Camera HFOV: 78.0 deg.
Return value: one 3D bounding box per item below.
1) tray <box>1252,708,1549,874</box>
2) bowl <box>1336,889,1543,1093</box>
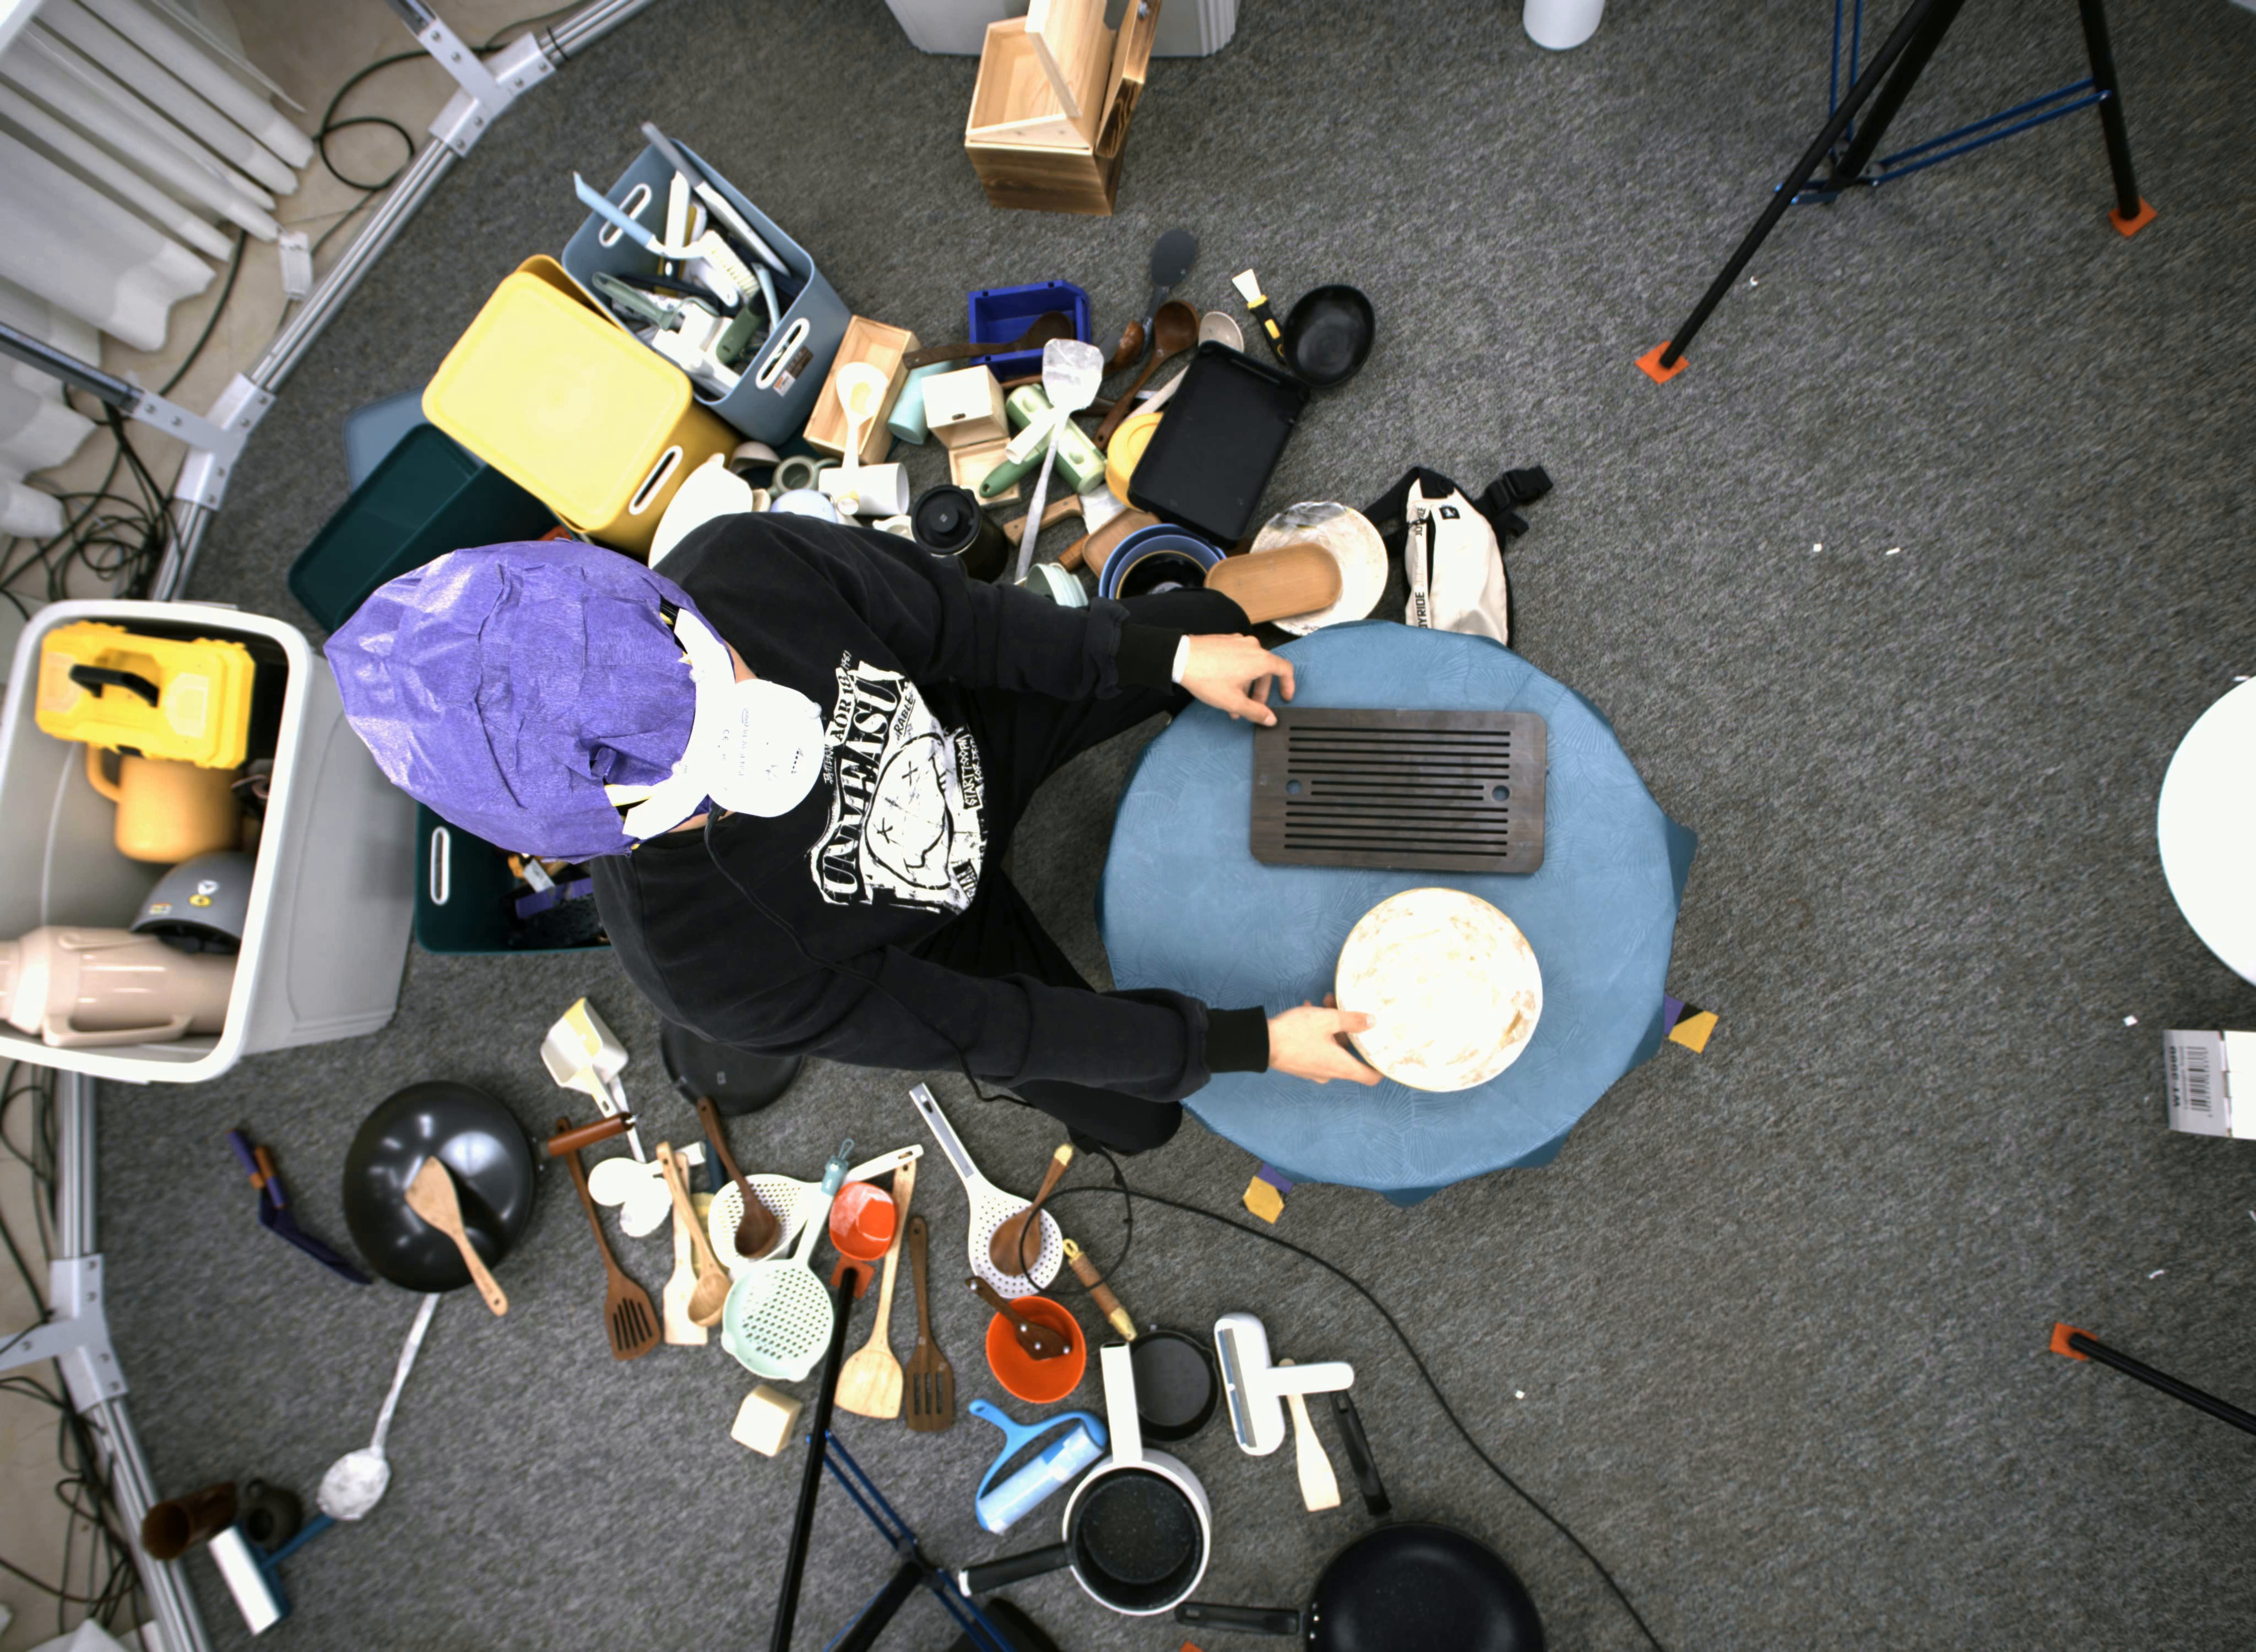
[{"bbox_3d":[0.287,-0.040,1.460,0.307,0.018,0.169,2,86,11],"label":"tray"},{"bbox_3d":[0.312,0.162,1.404,0.215,0.094,0.214,-1,87,11],"label":"bowl"}]
